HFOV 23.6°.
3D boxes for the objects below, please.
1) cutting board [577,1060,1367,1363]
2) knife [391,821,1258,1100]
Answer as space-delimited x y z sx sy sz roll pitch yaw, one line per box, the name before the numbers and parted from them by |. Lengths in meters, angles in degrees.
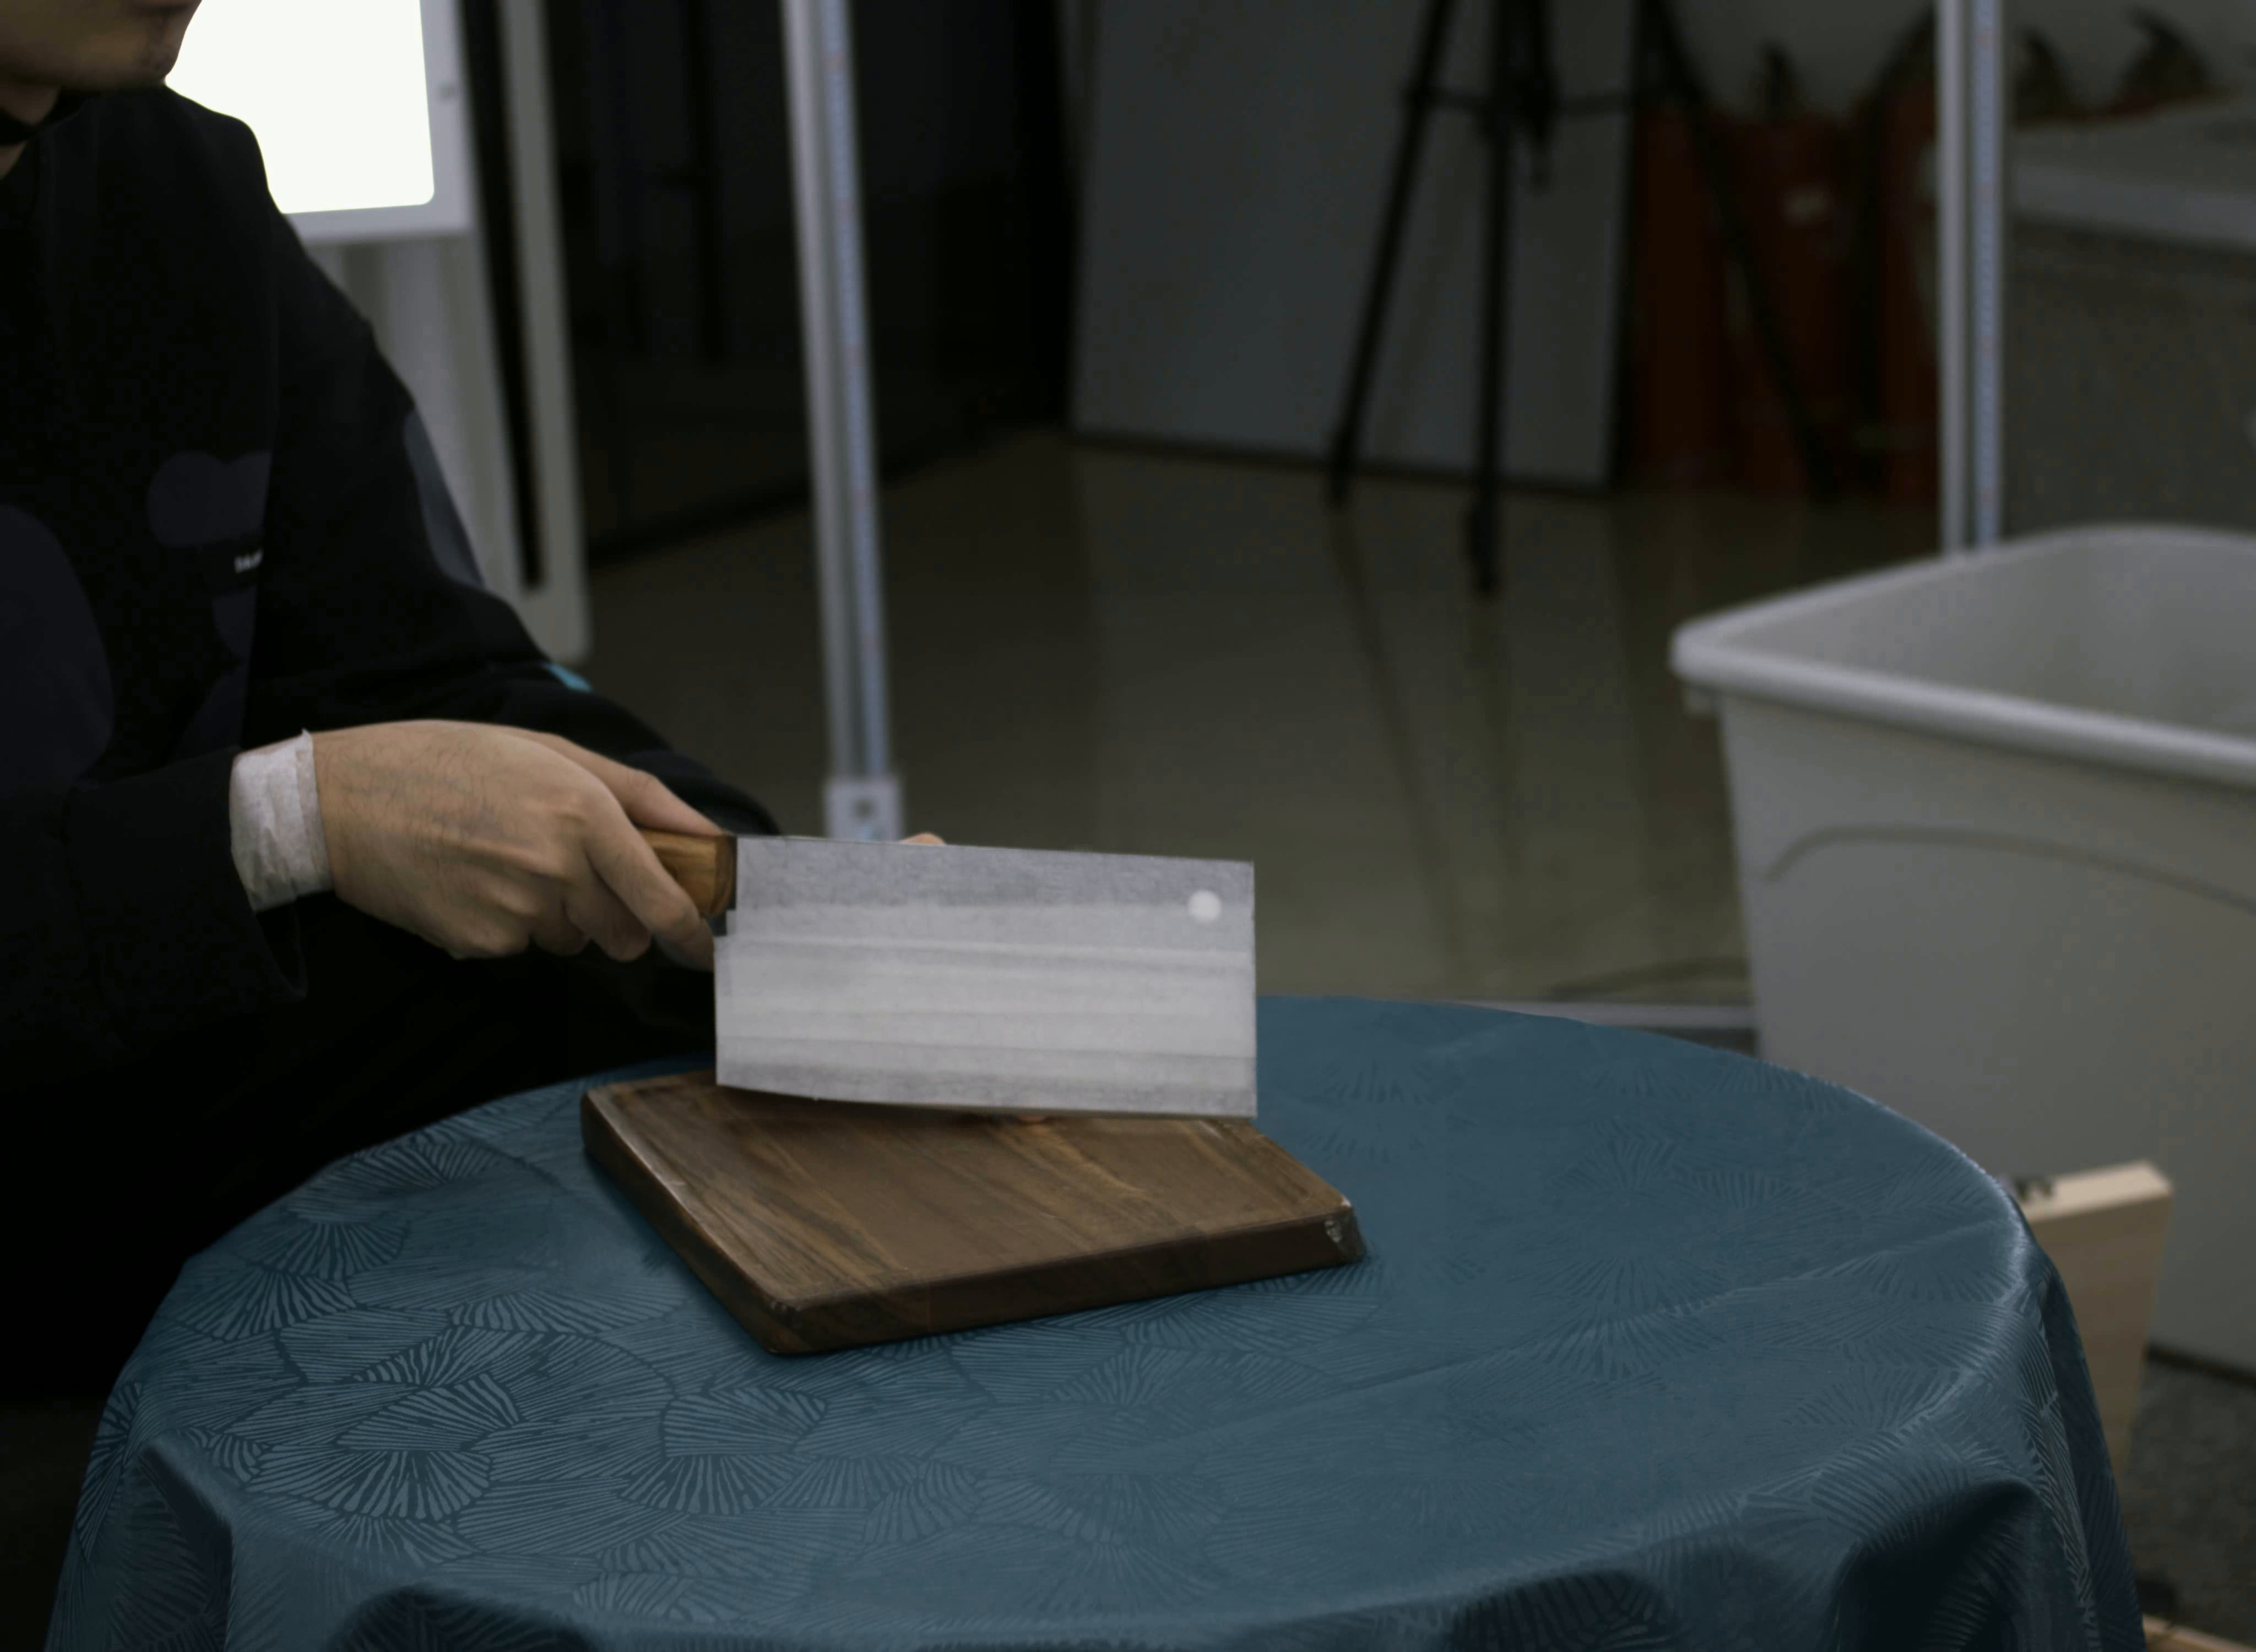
cutting board | -0.073 0.105 1.814 0.197 0.023 0.355 -8 14 -18
knife | -0.103 0.046 1.802 0.305 0.094 0.021 2 14 17
